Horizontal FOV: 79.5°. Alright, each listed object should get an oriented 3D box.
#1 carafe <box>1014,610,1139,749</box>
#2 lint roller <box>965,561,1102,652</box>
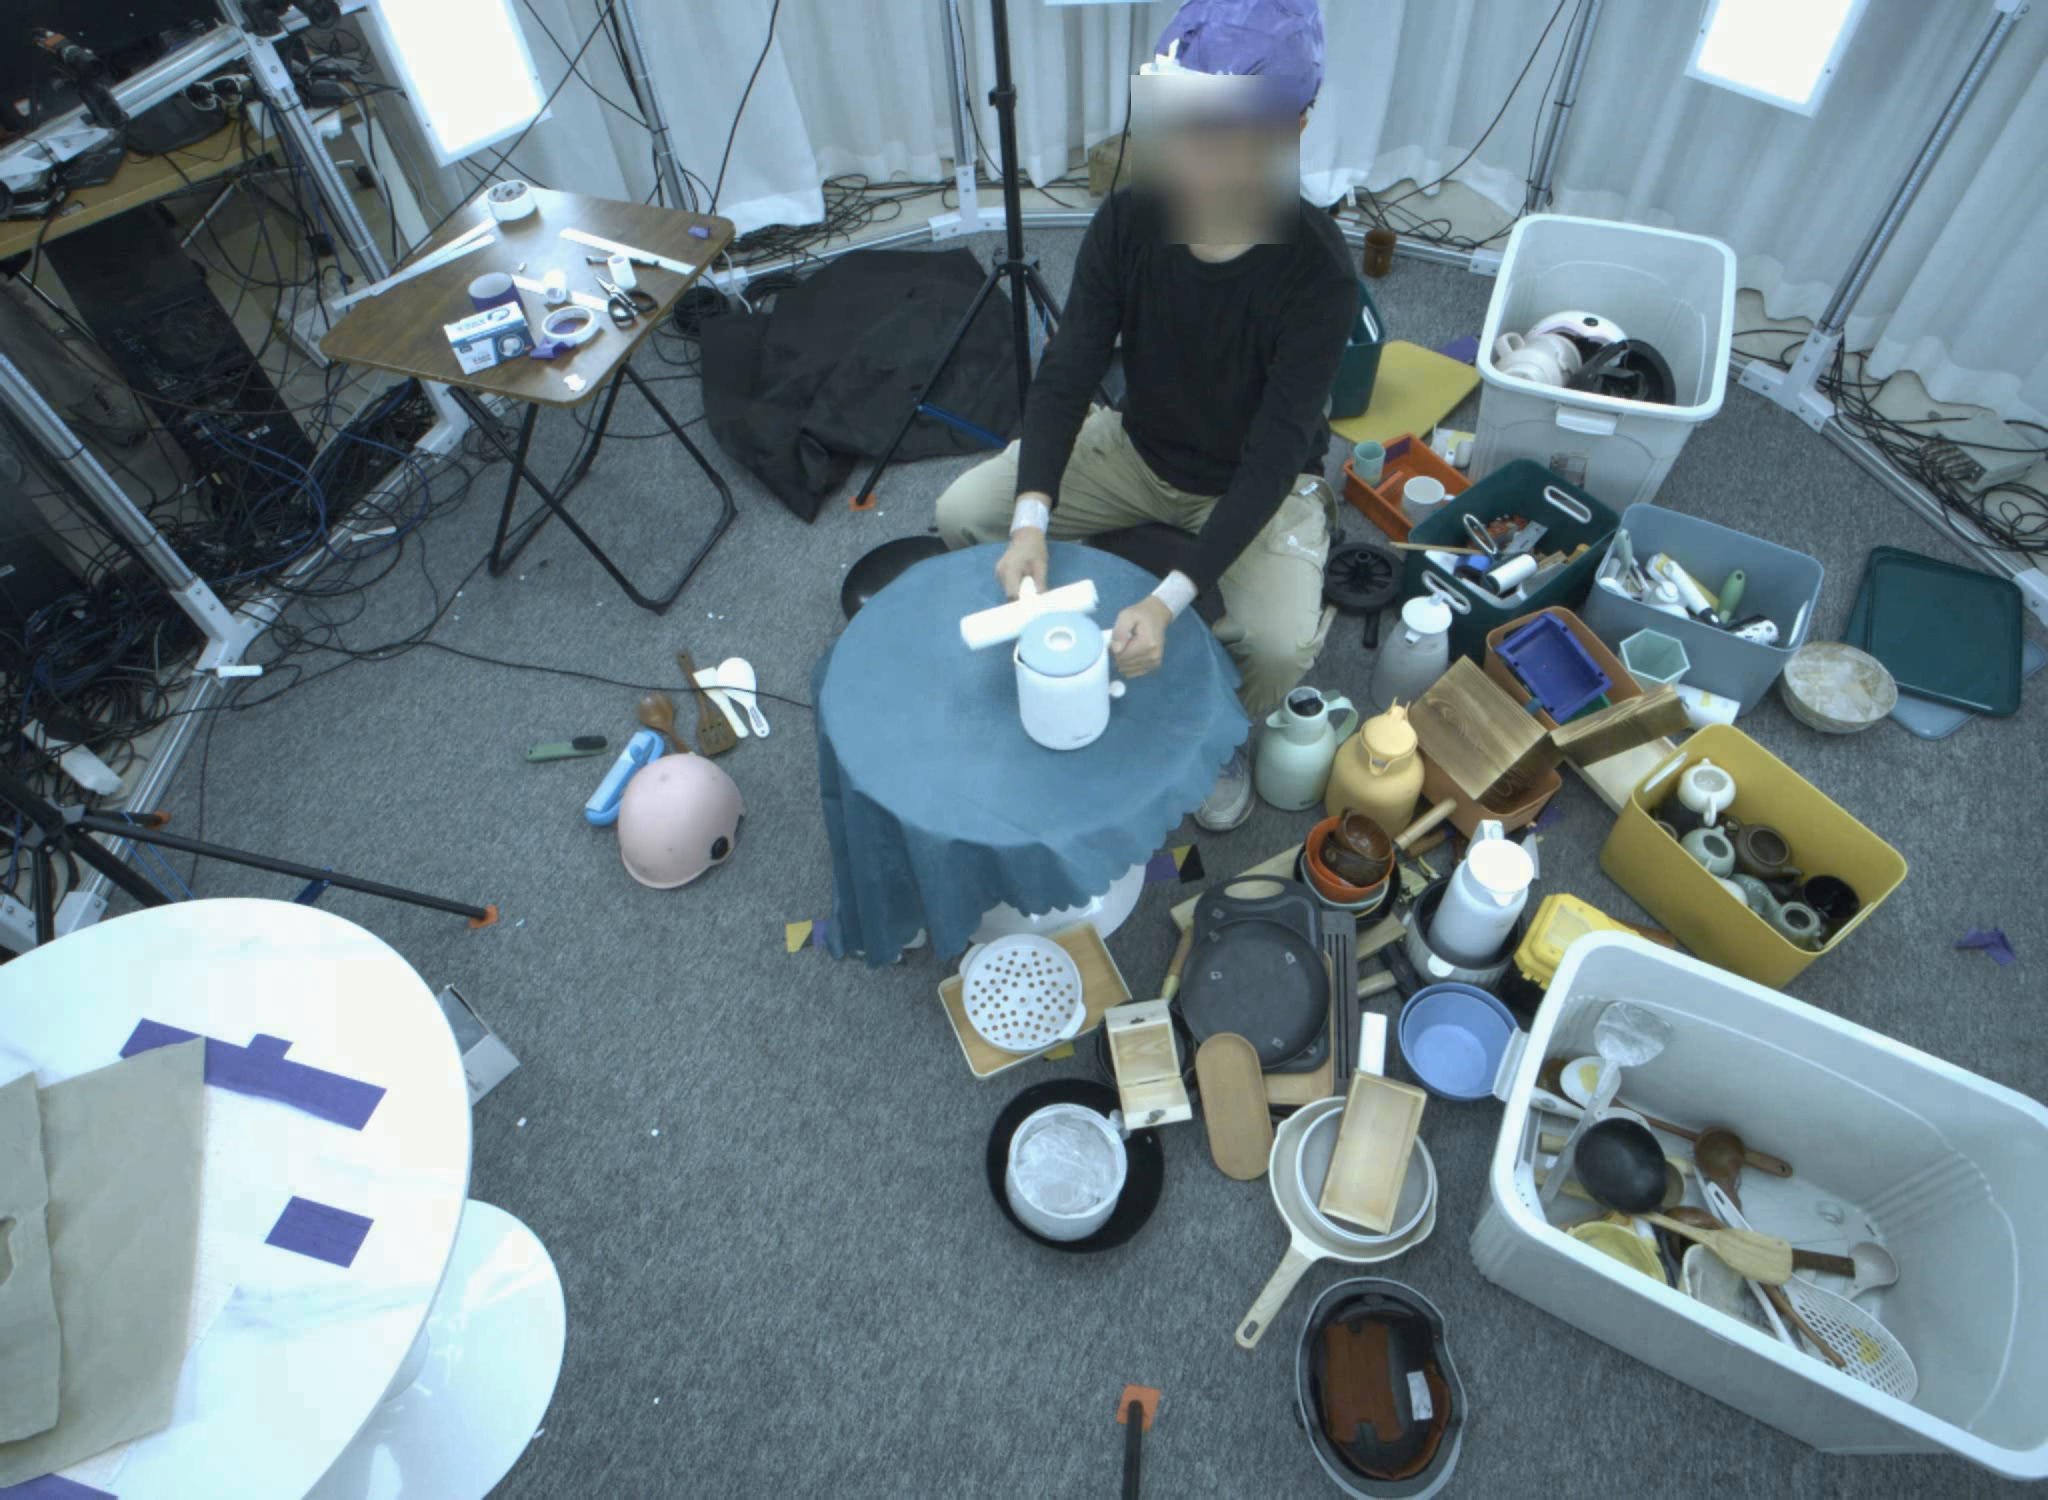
[{"bbox_3d":[0.078,-0.107,1.755,0.192,0.184,0.130,-19,56,-12],"label":"carafe"},{"bbox_3d":[0.007,-0.241,1.855,0.202,0.049,0.222,-18,34,5],"label":"lint roller"}]
